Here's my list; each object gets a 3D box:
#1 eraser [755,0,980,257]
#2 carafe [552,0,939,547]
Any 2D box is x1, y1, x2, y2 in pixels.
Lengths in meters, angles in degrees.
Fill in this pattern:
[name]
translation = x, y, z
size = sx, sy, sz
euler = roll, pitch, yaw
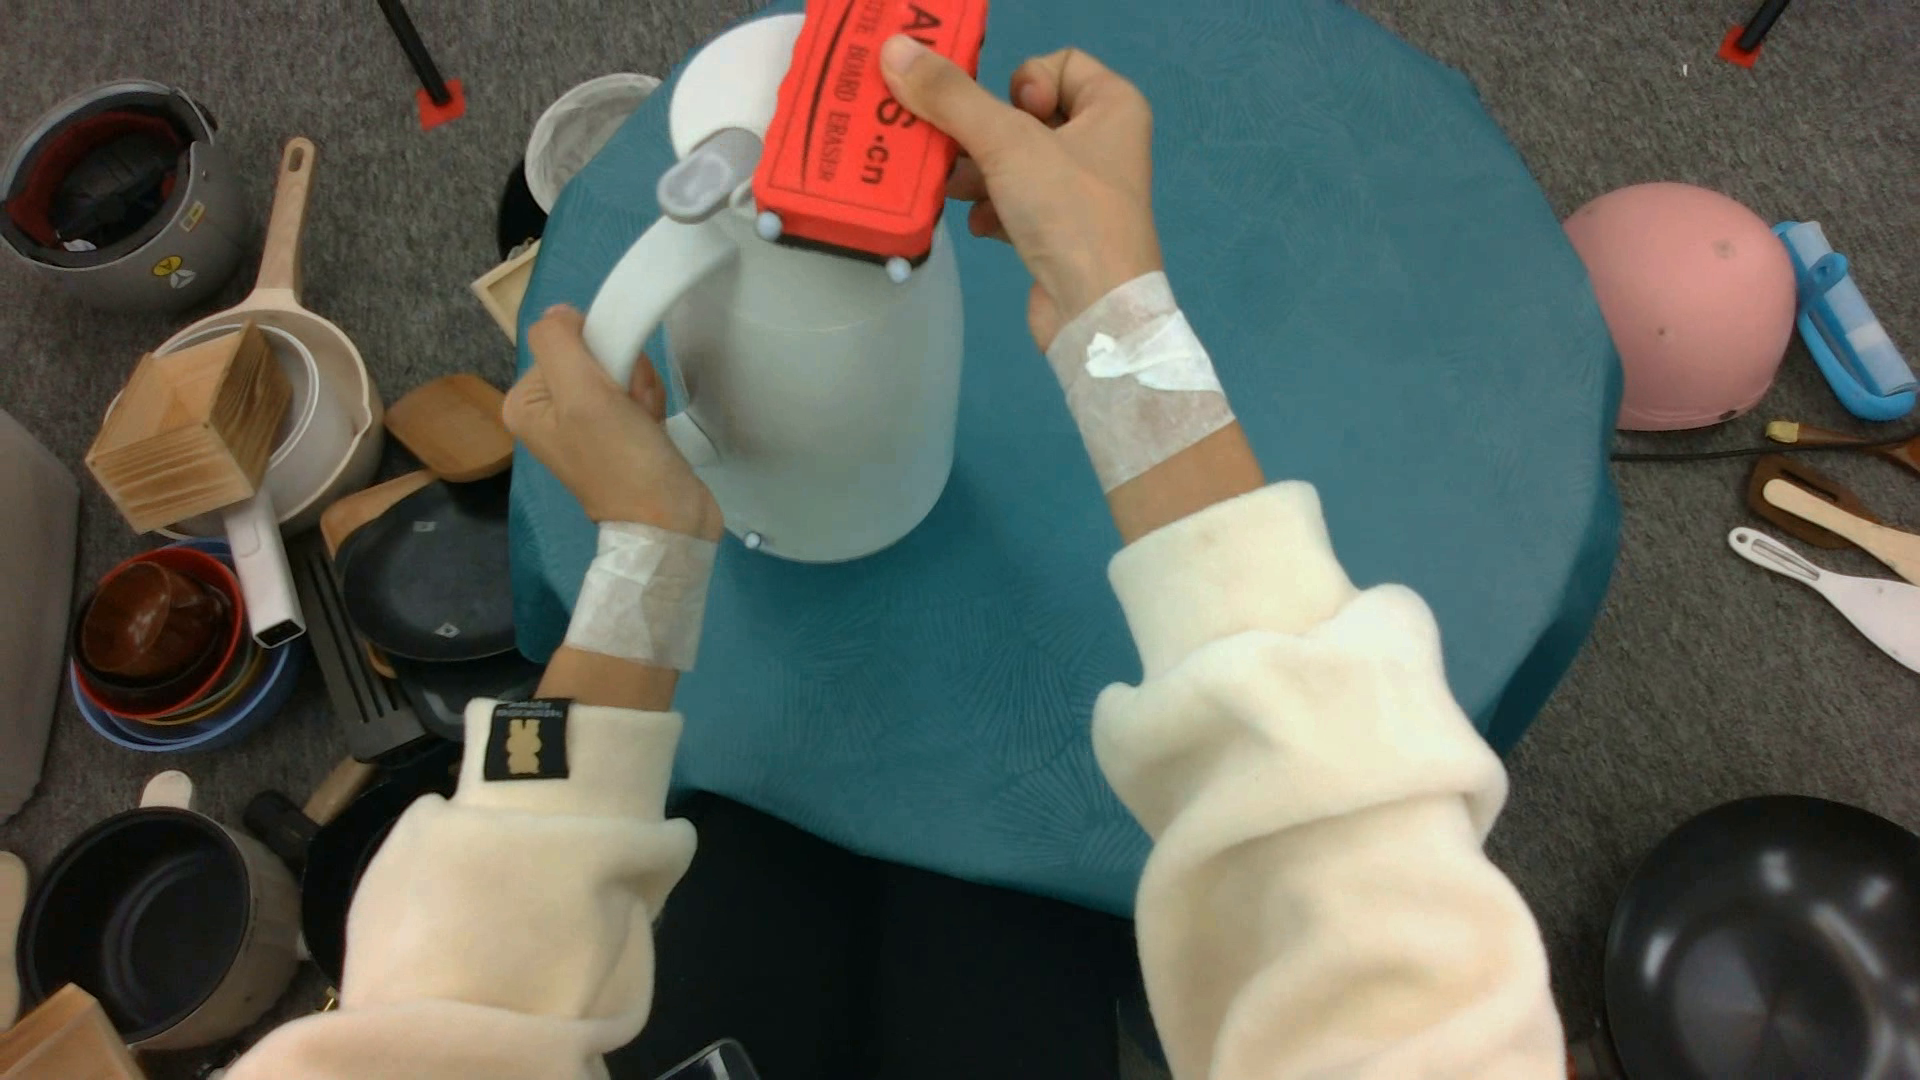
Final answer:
[eraser]
translation = -0.029, -0.148, 0.453
size = 0.059, 0.023, 0.108
euler = 12, 69, -3
[carafe]
translation = -0.085, -0.093, 0.570
size = 0.168, 0.247, 0.132
euler = -40, 75, -18
